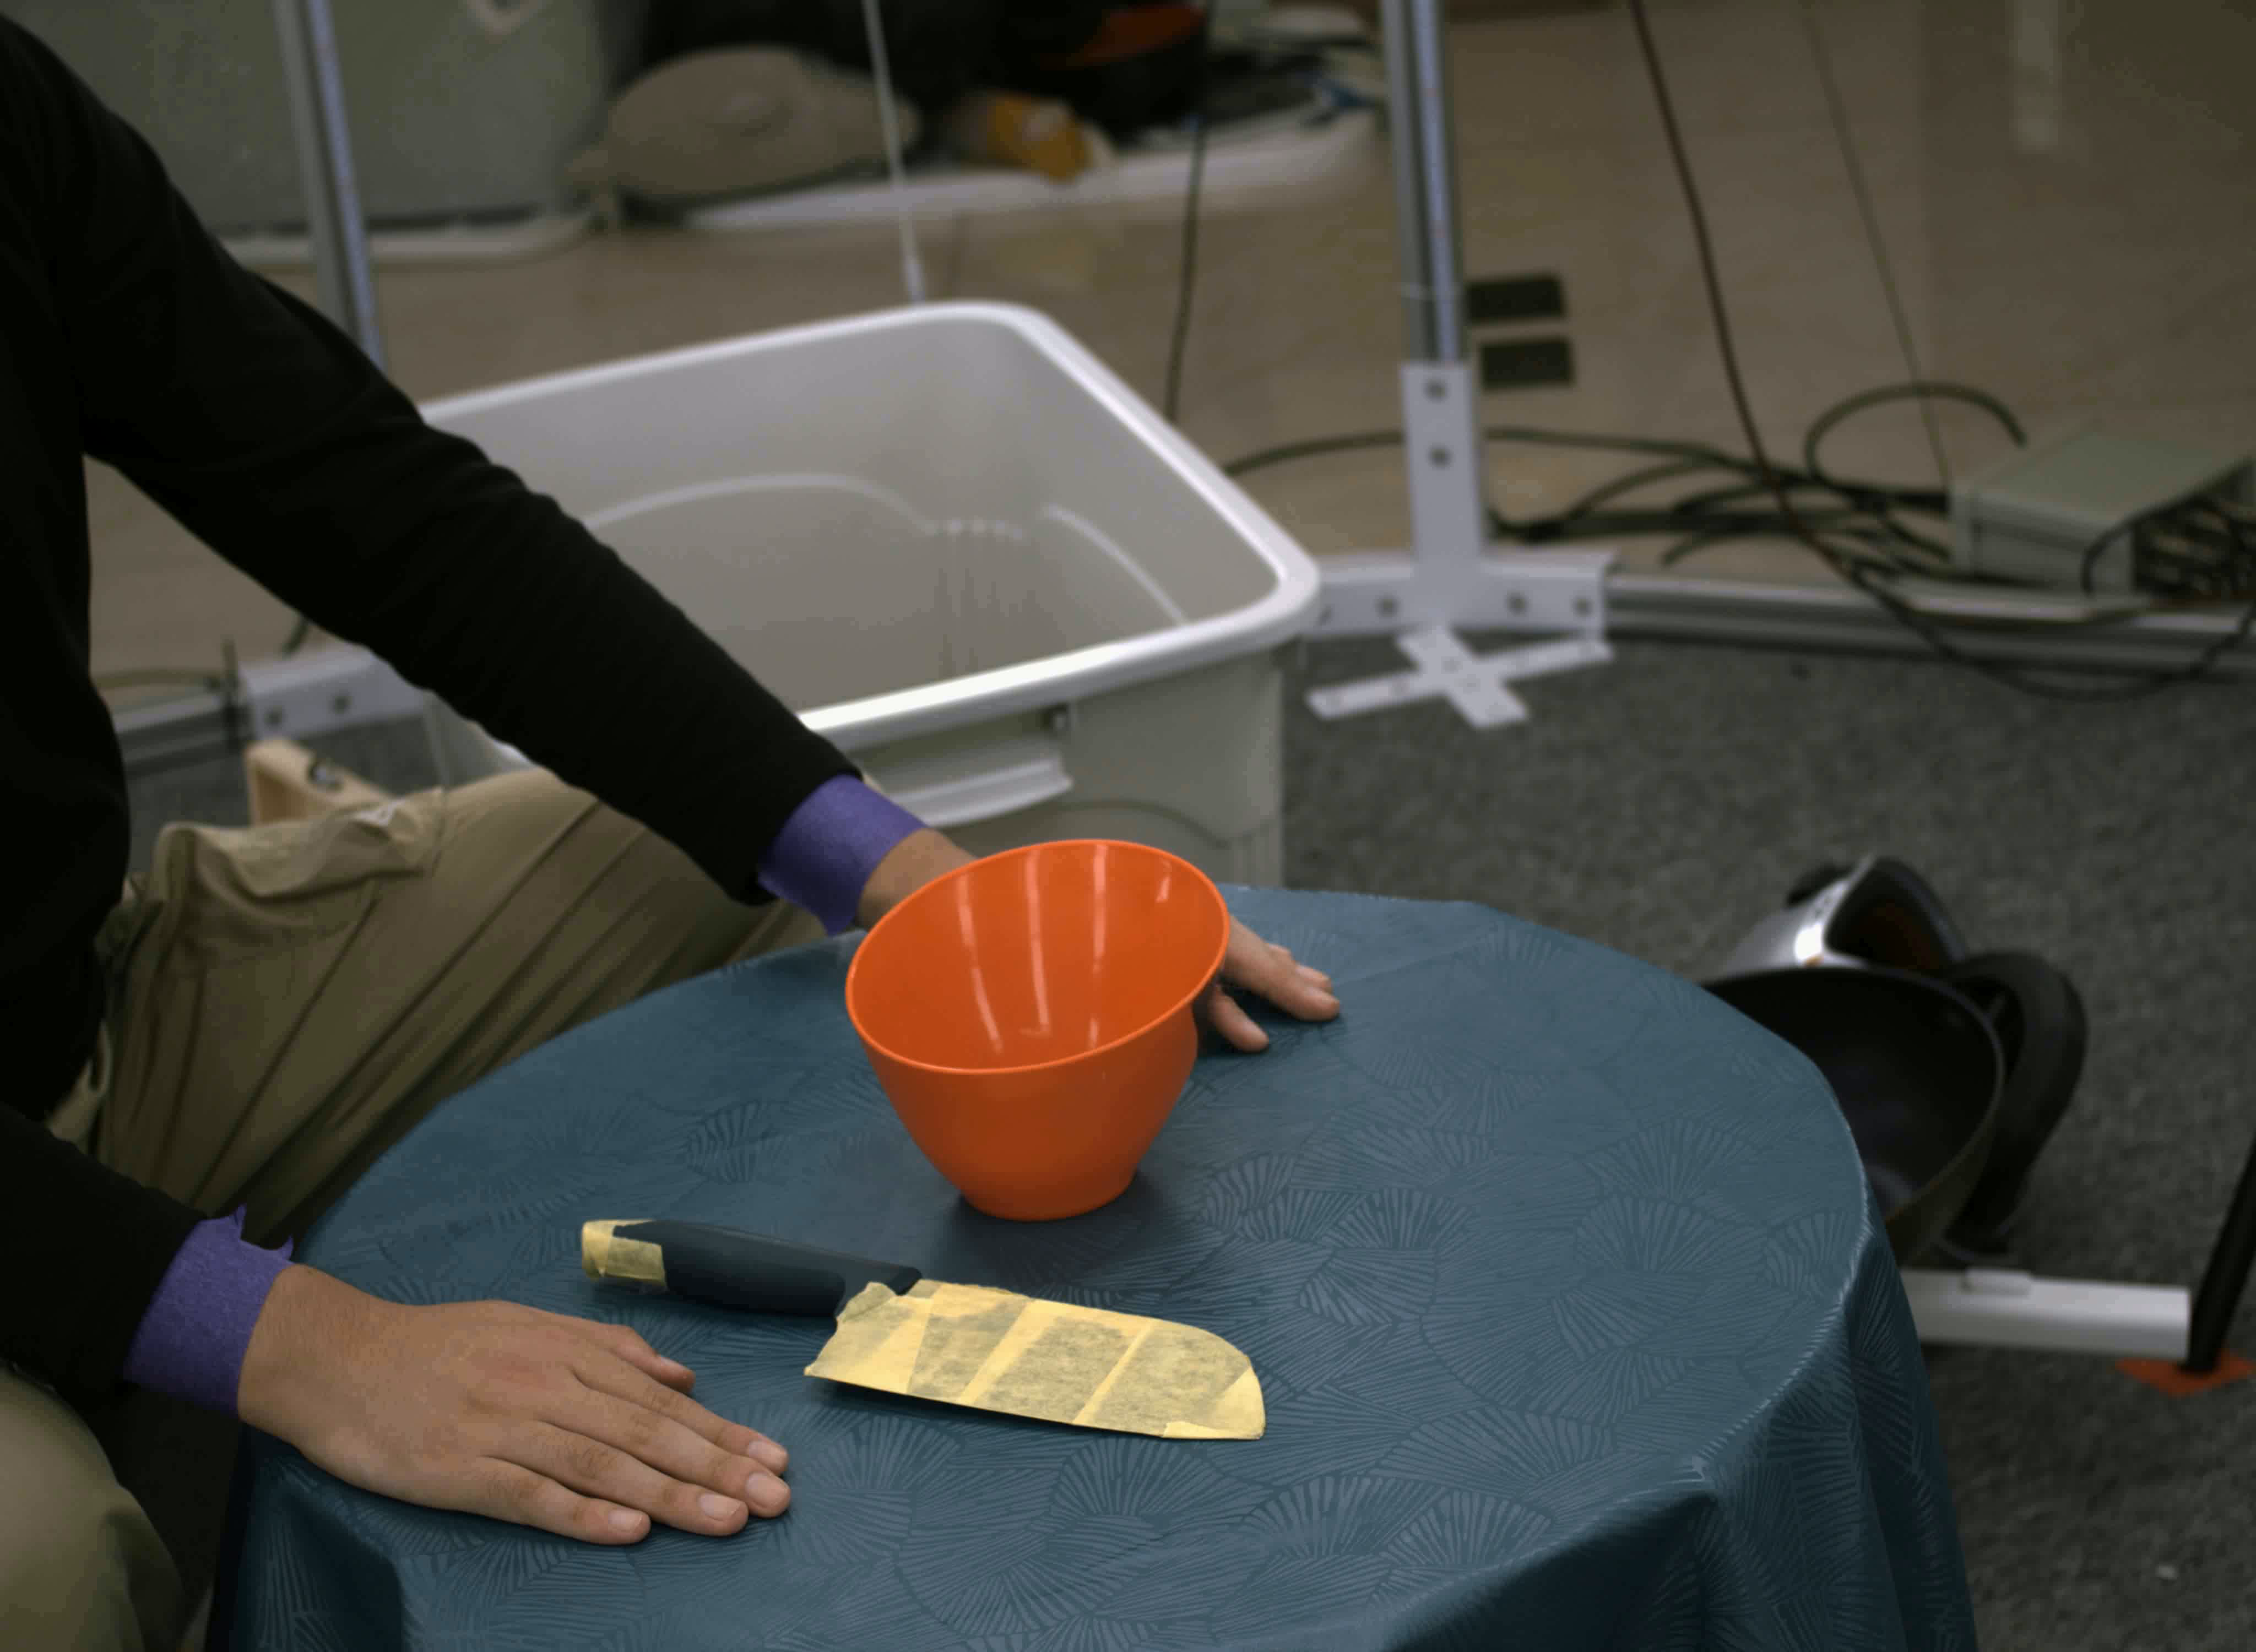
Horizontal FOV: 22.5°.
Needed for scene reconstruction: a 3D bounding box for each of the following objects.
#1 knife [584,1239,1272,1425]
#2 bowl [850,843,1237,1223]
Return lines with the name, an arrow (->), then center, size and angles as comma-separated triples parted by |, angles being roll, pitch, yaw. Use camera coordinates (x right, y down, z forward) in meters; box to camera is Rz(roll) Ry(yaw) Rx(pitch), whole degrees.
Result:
knife -> -0.079, 0.184, 2.055 | 0.288, 0.027, 0.080 | 8, 27, 26
bowl -> -0.029, 0.085, 2.150 | 0.148, 0.106, 0.146 | -4, 27, 2
